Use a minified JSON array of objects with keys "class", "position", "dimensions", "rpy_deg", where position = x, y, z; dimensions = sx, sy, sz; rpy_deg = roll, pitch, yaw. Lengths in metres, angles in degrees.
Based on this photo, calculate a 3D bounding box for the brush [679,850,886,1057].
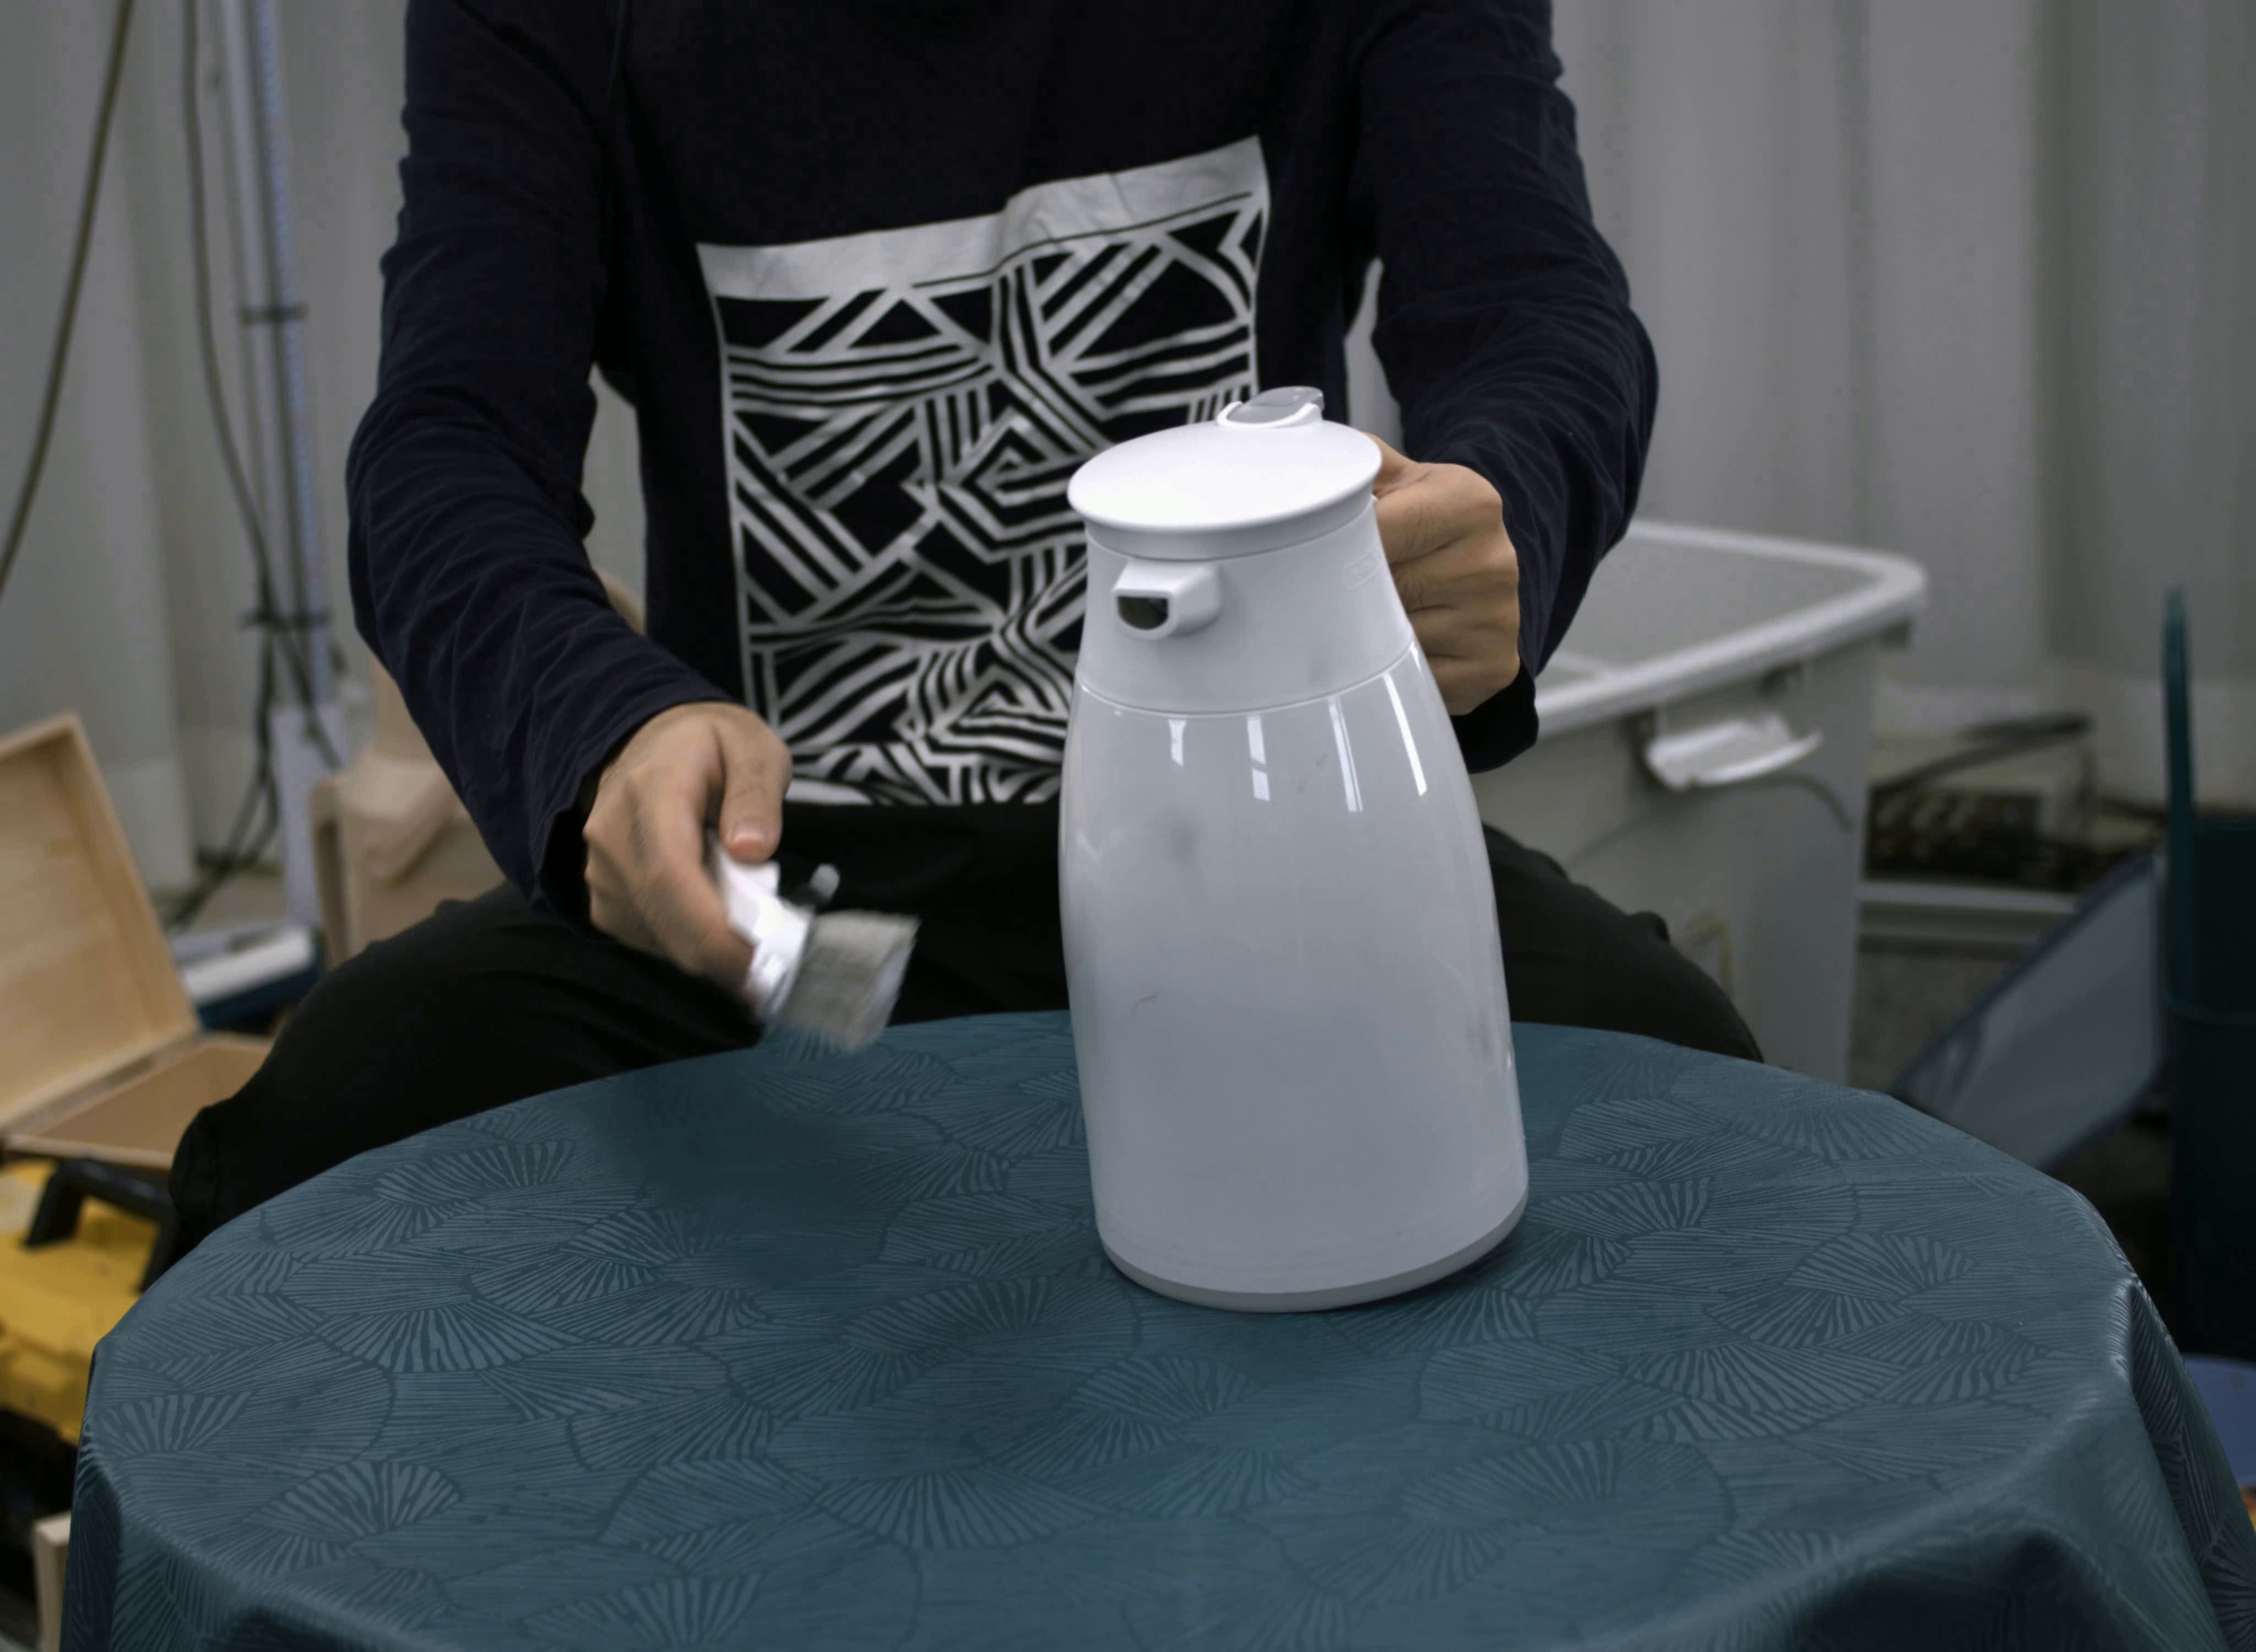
[{"class":"brush","position":[-0.105,0.036,1.654],"dimensions":[0.050,0.034,0.244],"rpy_deg":[10,5,-9]}]

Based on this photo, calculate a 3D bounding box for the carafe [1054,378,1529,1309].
[{"class":"carafe","position":[0.046,-0.005,1.631],"dimensions":[0.132,0.247,0.169],"rpy_deg":[1,23,24]}]
